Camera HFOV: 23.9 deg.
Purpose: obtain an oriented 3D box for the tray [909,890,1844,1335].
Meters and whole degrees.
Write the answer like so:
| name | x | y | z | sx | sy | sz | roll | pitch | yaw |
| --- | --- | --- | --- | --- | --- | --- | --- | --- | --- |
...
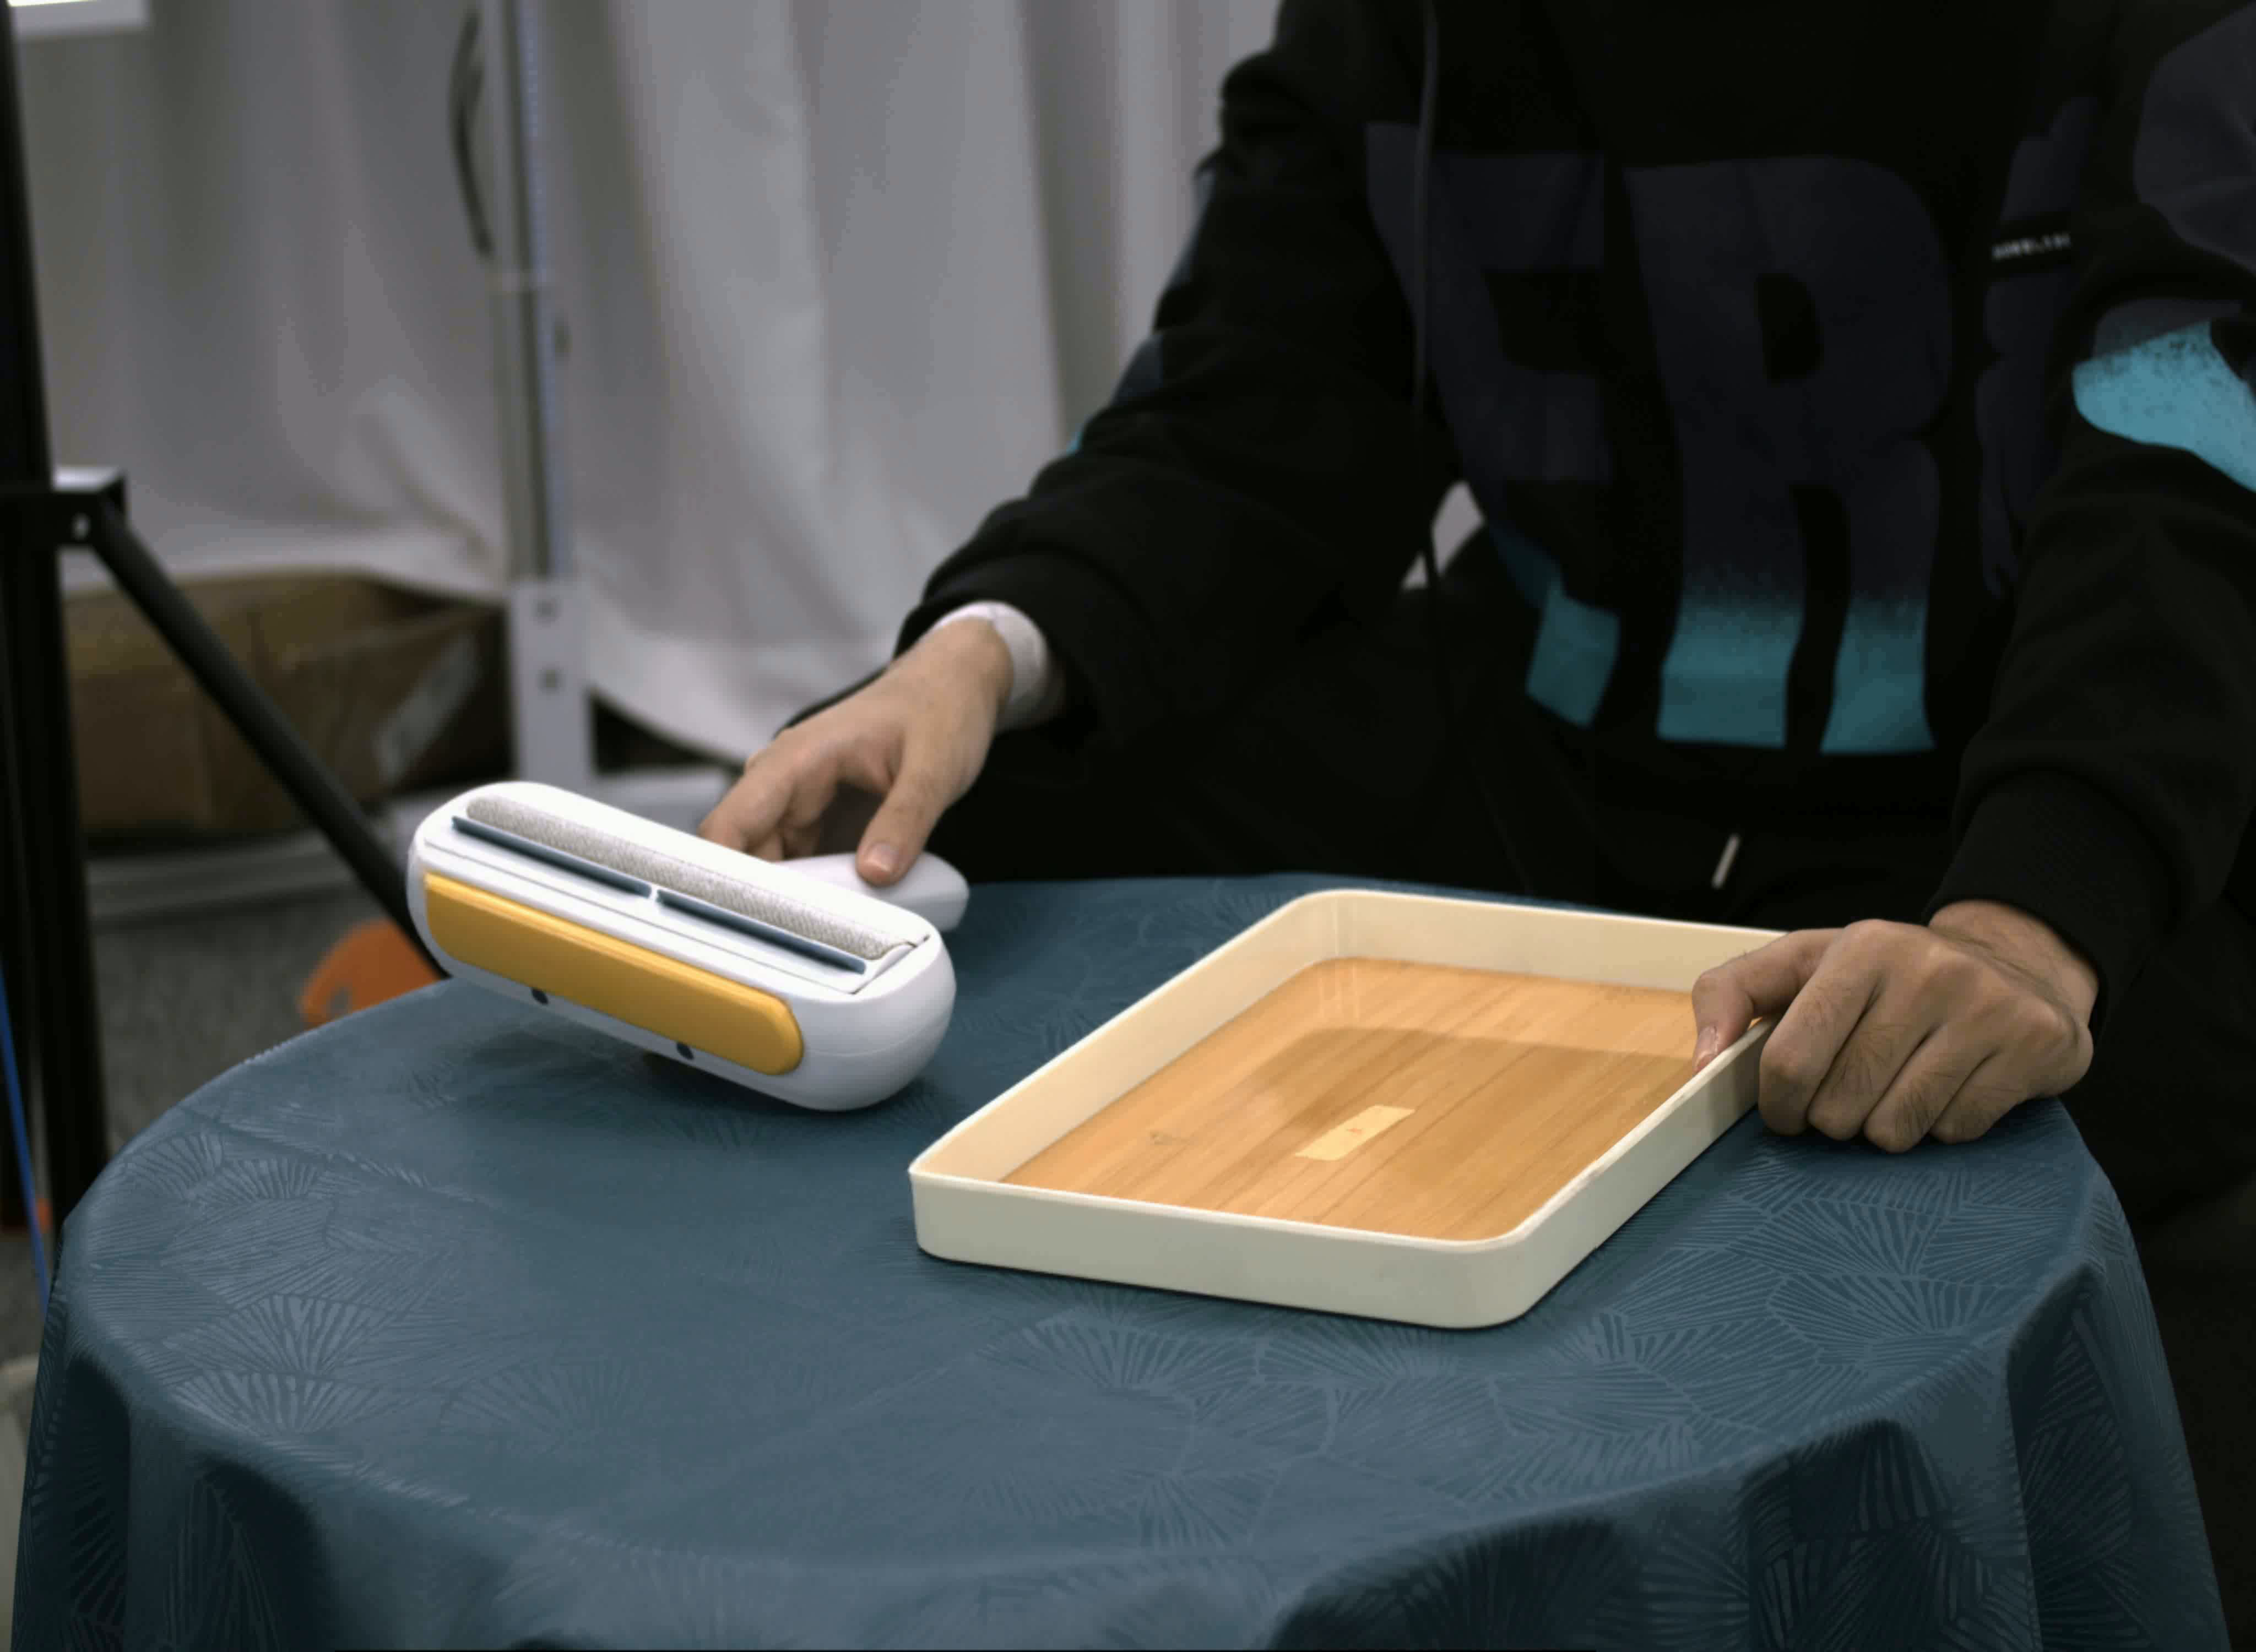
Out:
| name | x | y | z | sx | sy | sz | roll | pitch | yaw |
| --- | --- | --- | --- | --- | --- | --- | --- | --- | --- |
| tray | 0.082 | 0.081 | 1.592 | 0.195 | 0.027 | 0.295 | 6 | 18 | 27 |

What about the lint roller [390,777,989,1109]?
| name | x | y | z | sx | sy | sz | roll | pitch | yaw |
| --- | --- | --- | --- | --- | --- | --- | --- | --- | --- |
| lint roller | -0.114 | 0.027 | 1.731 | 0.197 | 0.074 | 0.188 | 15 | 25 | 35 |
